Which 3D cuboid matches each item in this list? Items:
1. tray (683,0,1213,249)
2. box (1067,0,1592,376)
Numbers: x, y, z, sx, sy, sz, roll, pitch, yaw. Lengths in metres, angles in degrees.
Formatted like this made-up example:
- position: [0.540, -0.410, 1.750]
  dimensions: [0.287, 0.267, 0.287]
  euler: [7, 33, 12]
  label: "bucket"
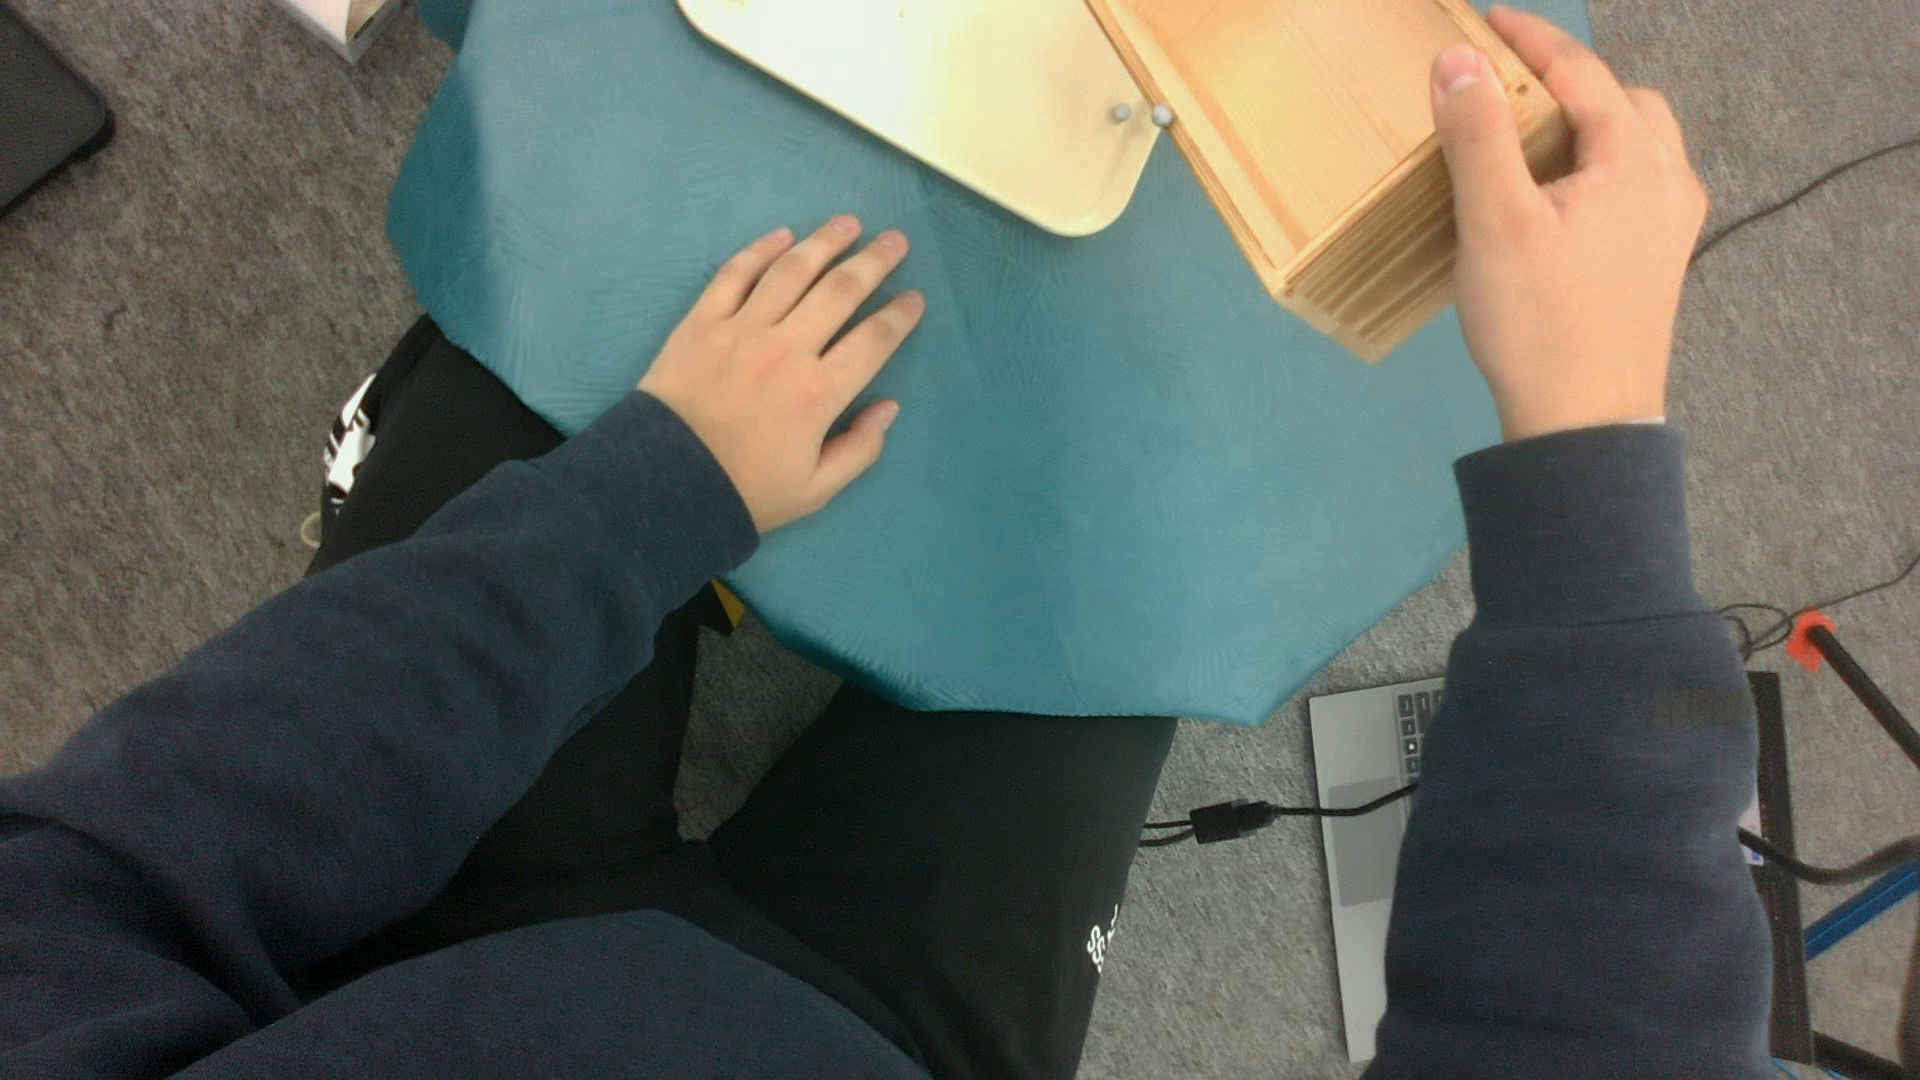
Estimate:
- position: [0.000, -0.259, 0.670]
  dimensions: [0.240, 0.017, 0.171]
  euler: [25, 84, -15]
  label: "tray"
- position: [0.139, -0.185, 0.559]
  dimensions: [0.080, 0.212, 0.107]
  euler: [18, 129, -44]
  label: "box"
